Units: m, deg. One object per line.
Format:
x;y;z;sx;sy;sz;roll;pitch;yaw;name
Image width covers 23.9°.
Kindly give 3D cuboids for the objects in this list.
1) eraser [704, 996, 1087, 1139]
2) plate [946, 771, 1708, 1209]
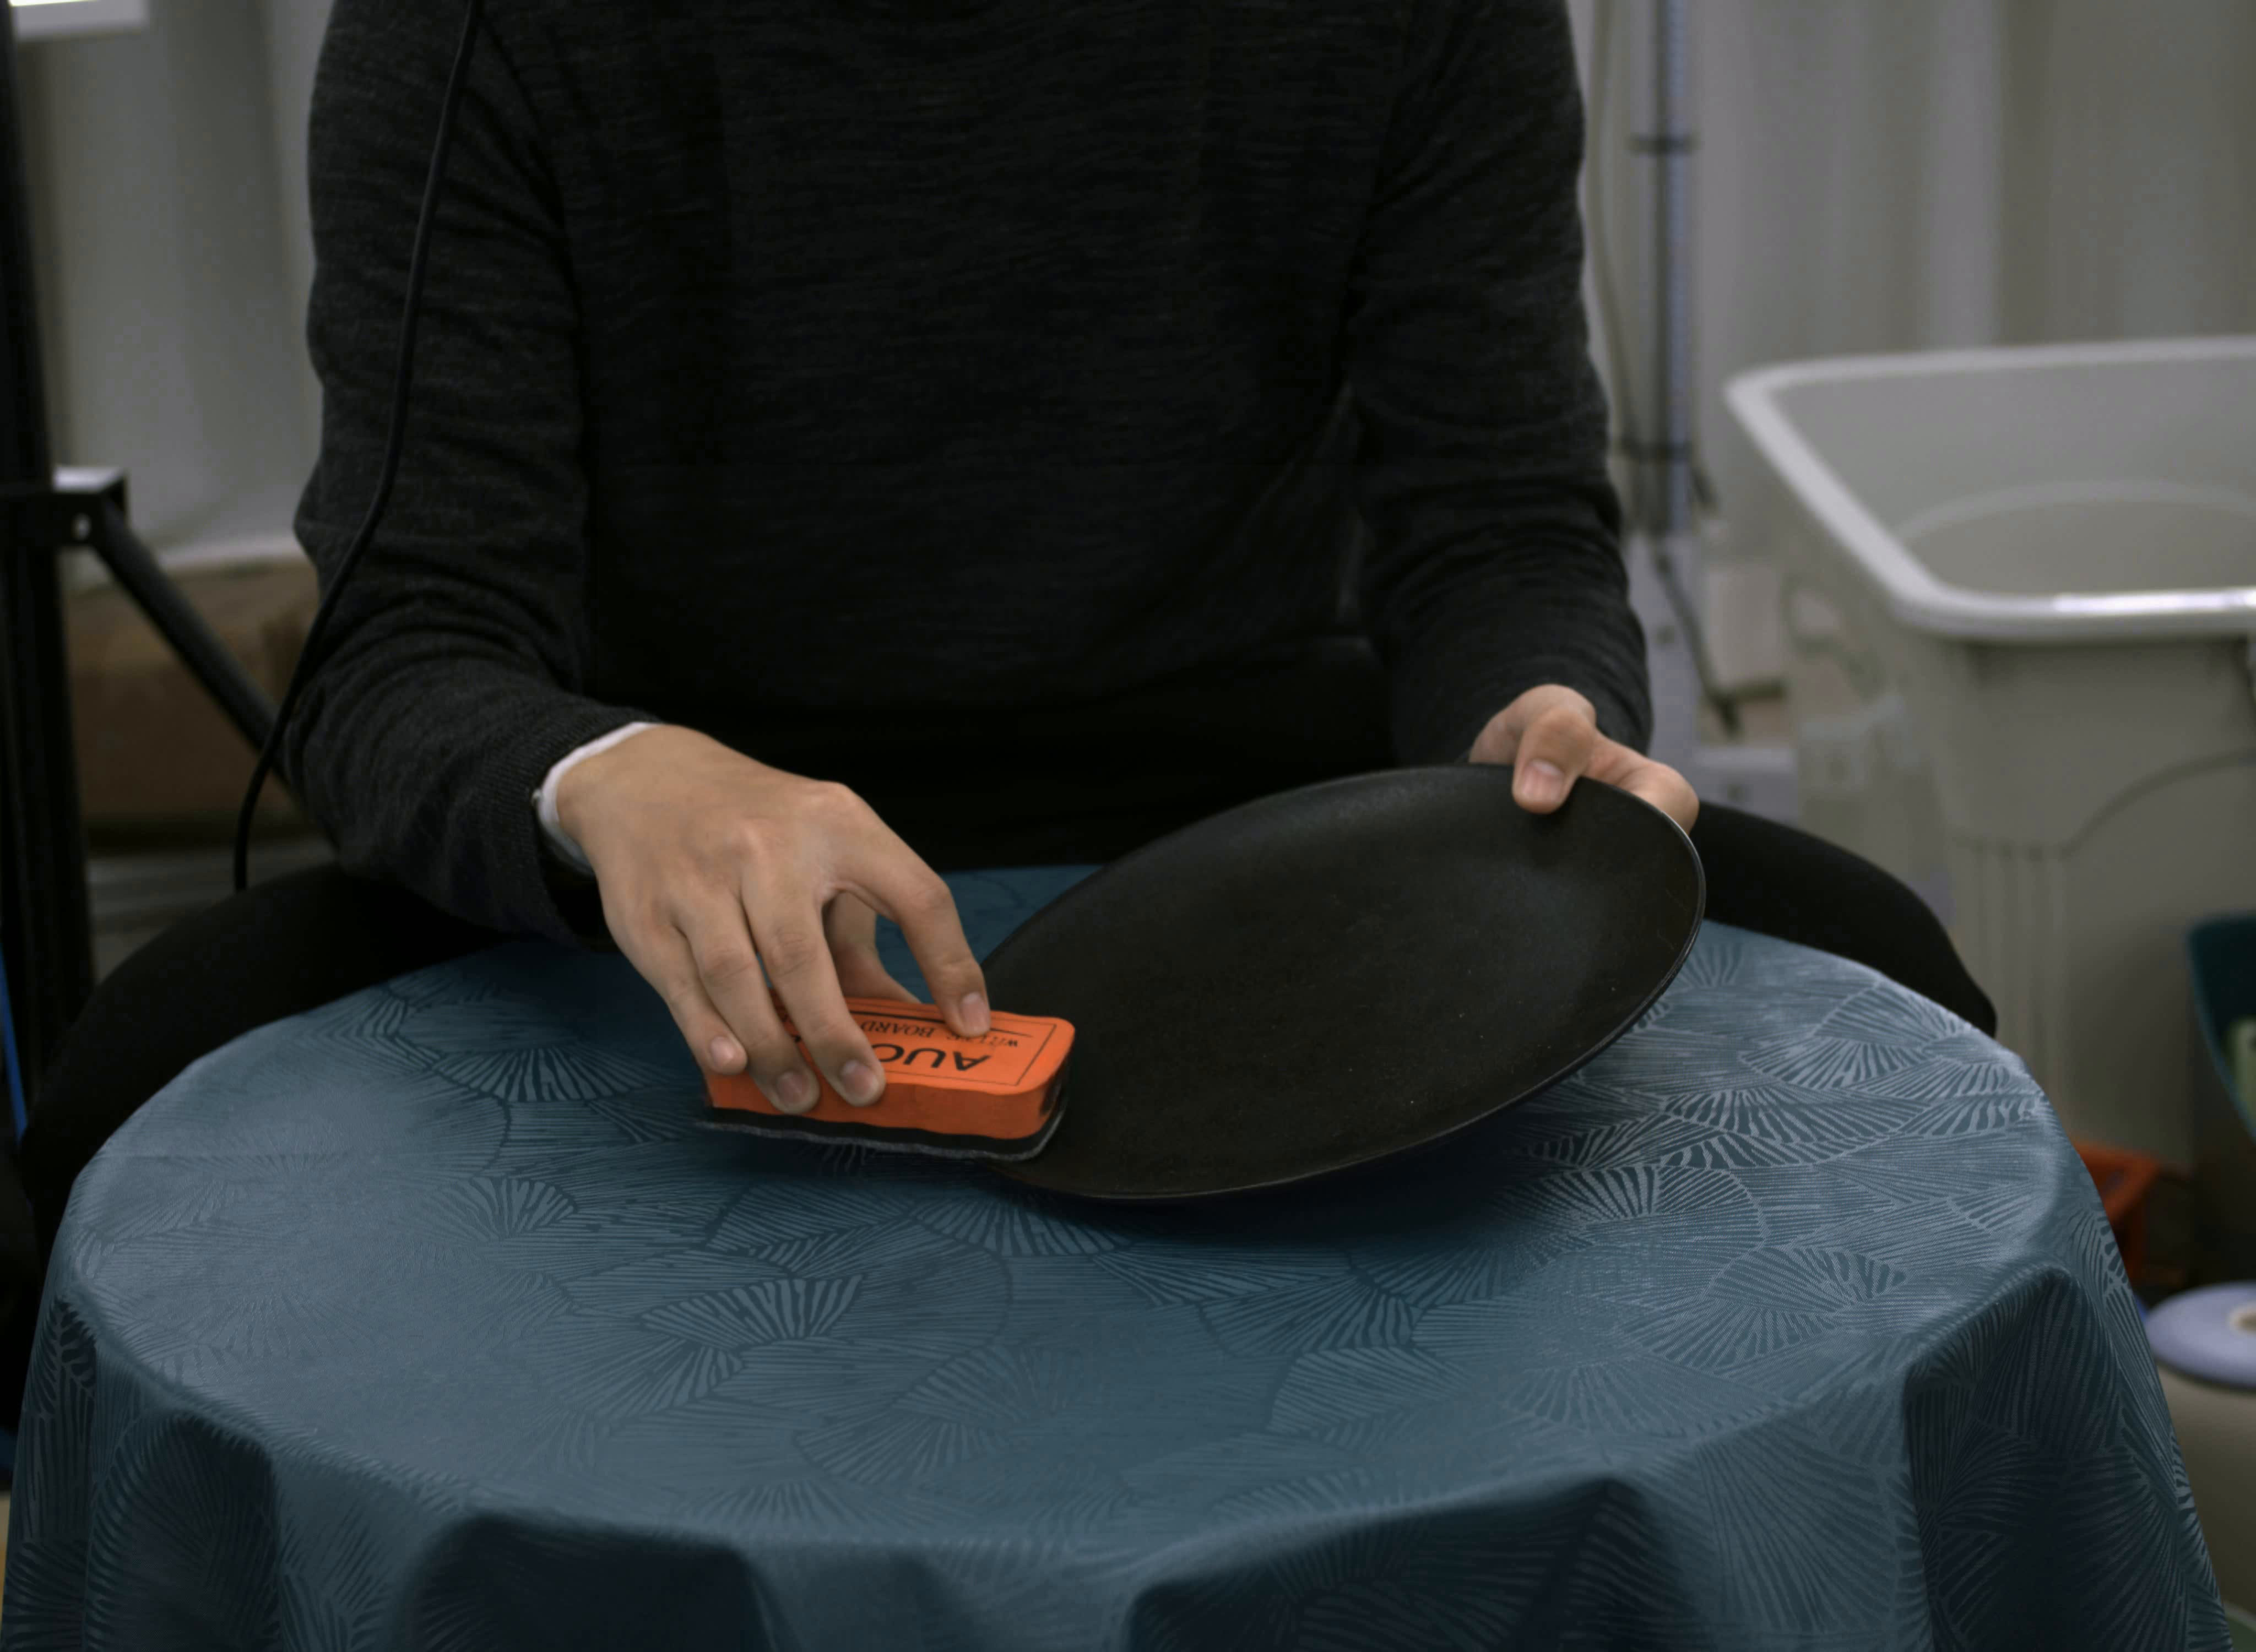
-0.069;0.072;1.591;0.109;0.023;0.058;3;15;18;eraser
0.059;0.053;1.604;0.244;0.023;0.246;-16;25;6;plate
